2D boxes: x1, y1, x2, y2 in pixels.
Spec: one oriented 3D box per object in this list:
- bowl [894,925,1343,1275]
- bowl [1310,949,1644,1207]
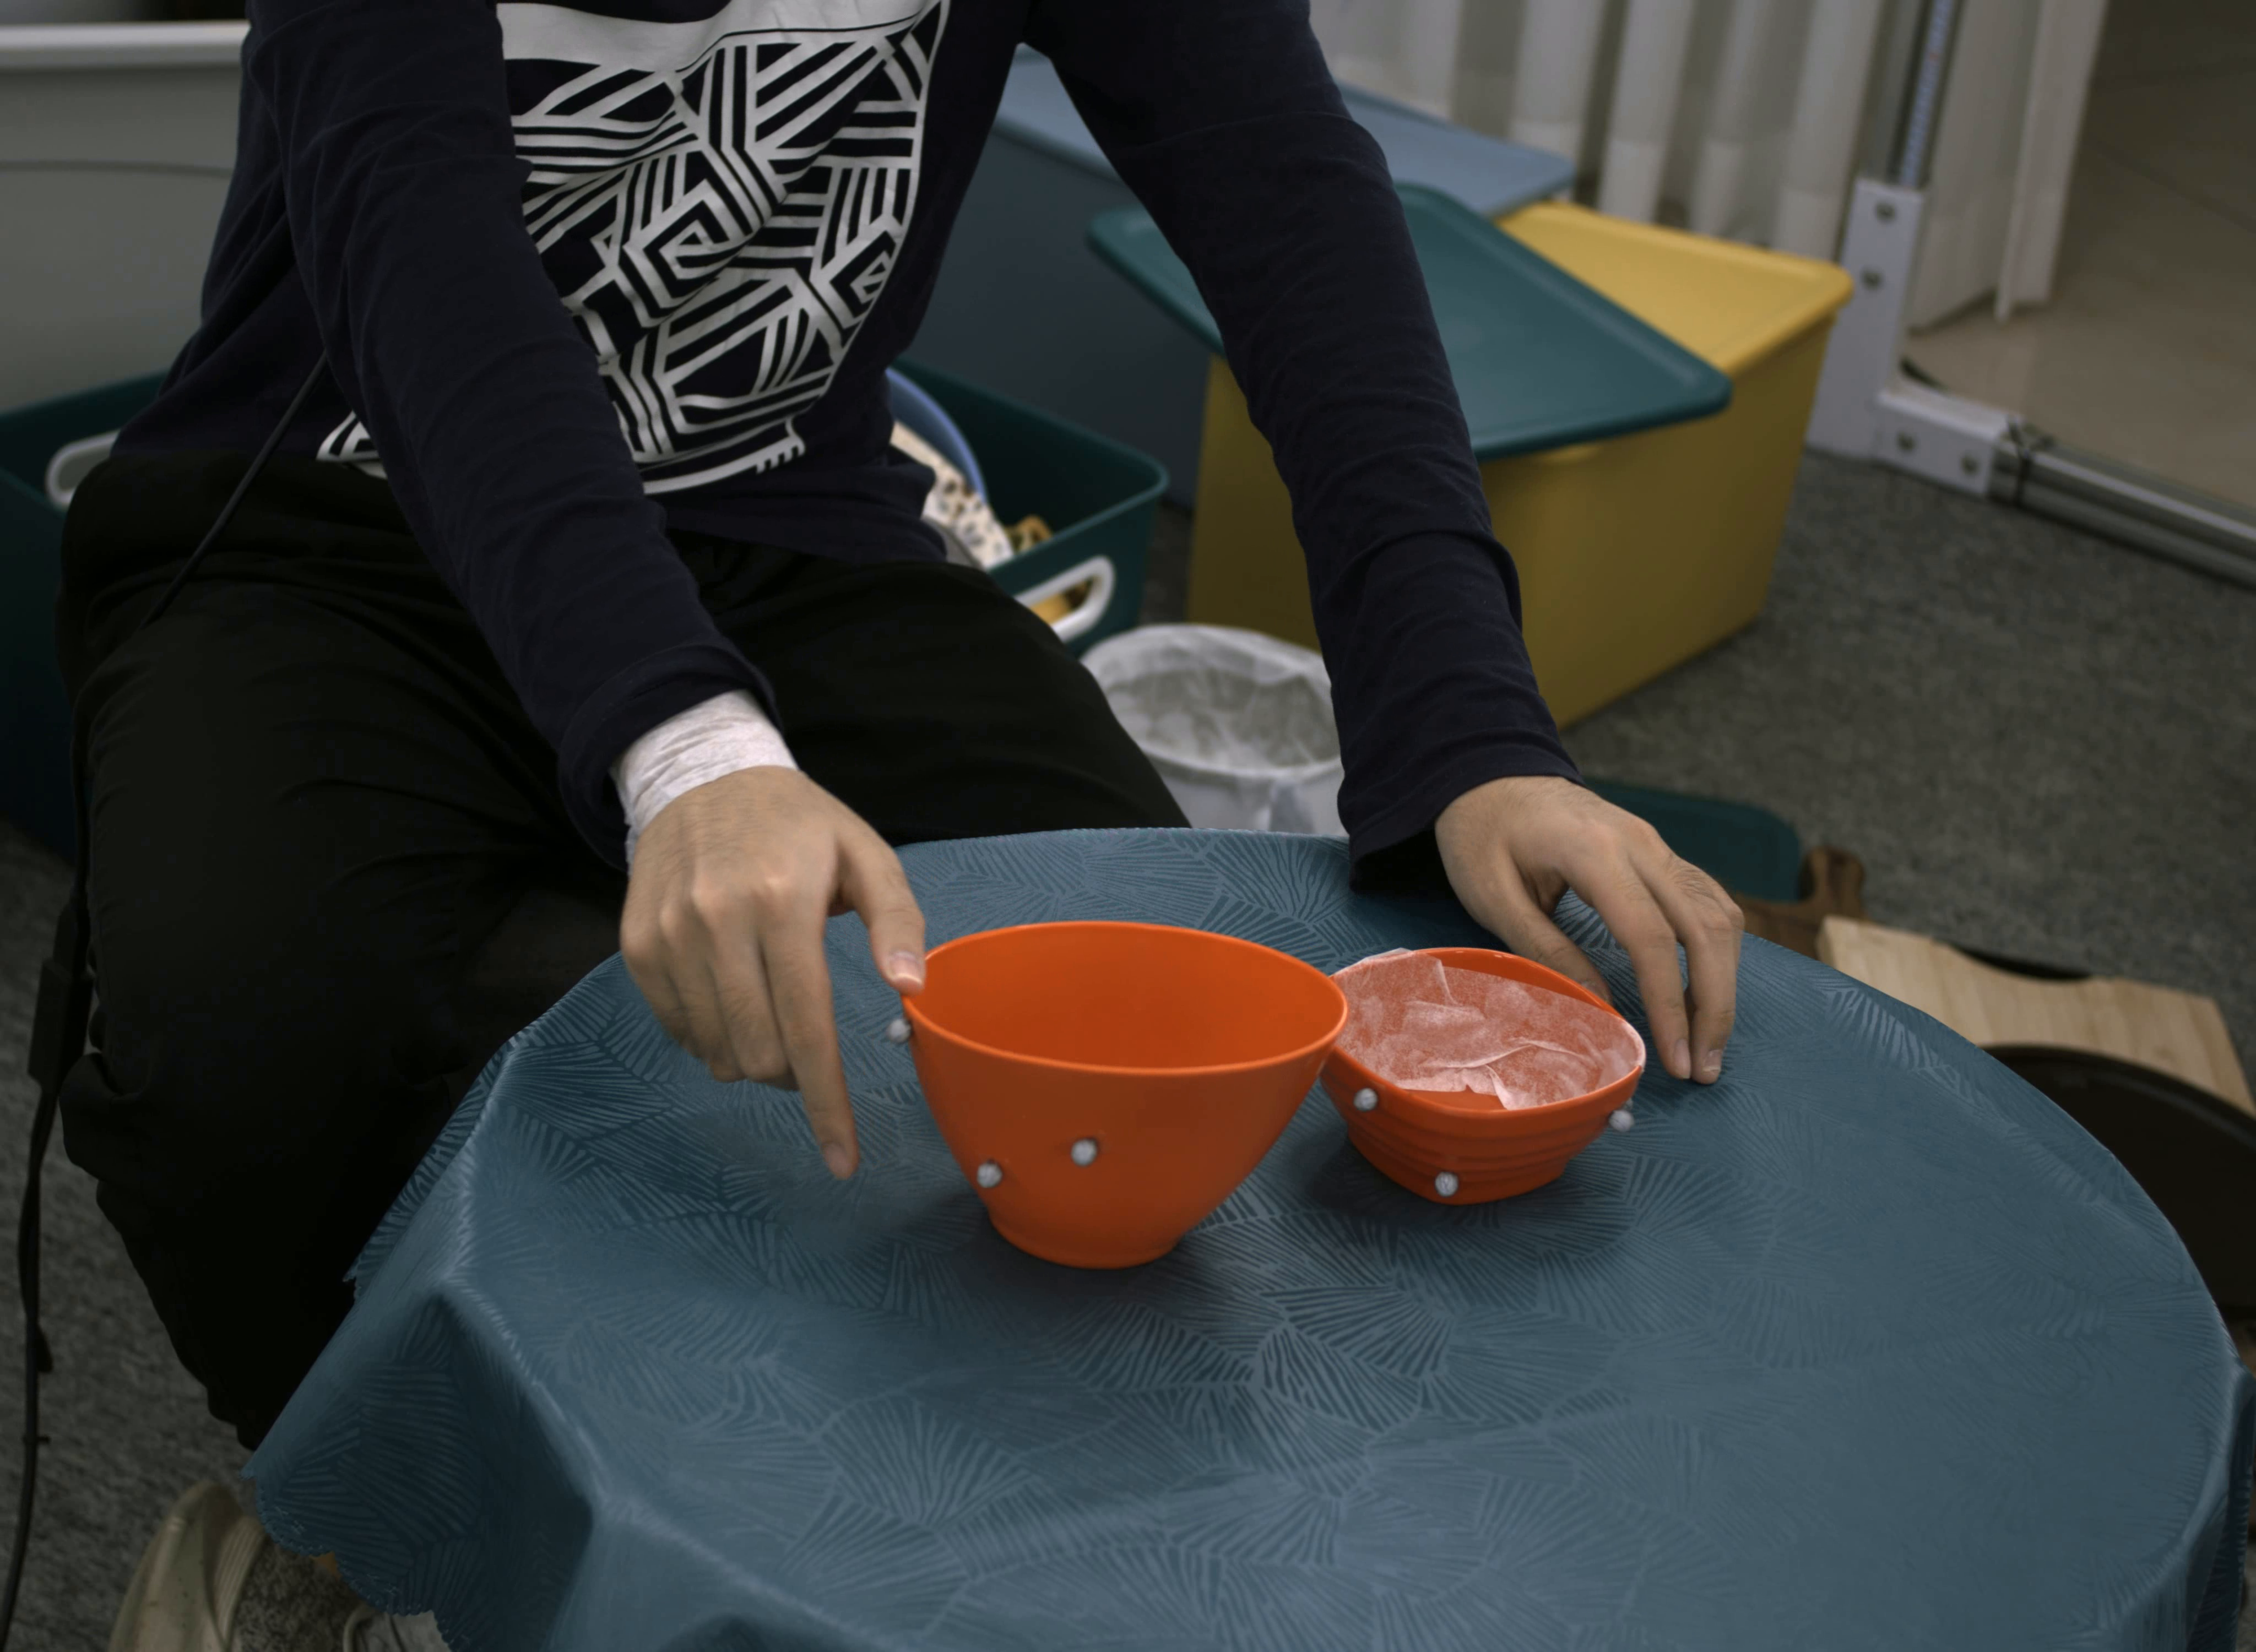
[{"bbox_3d":[-0.007,0.093,1.756,0.147,0.104,0.149,4,25,-2],"label":"bowl"},{"bbox_3d":[0.117,0.091,1.843,0.118,0.051,0.119,3,26,-2],"label":"bowl"}]
